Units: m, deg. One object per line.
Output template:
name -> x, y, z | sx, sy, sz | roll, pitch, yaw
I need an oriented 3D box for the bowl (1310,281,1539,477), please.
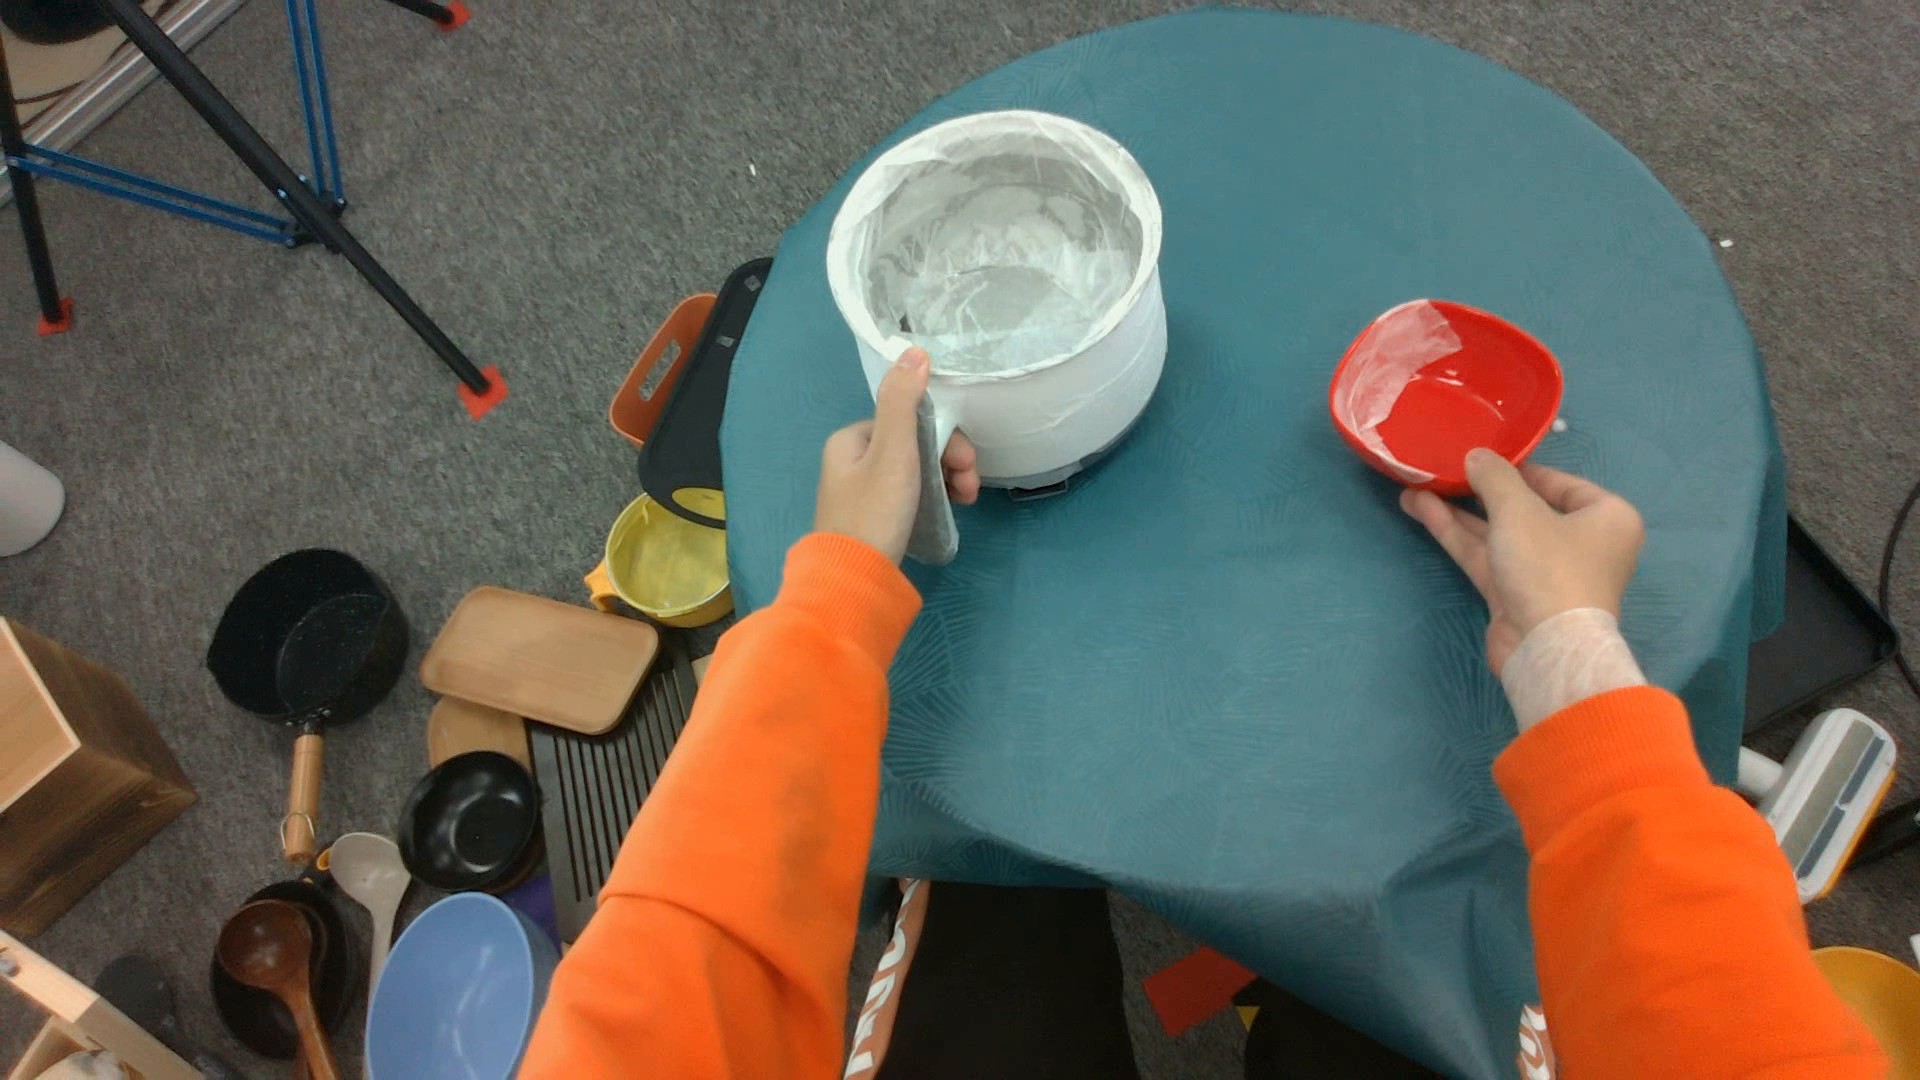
bowl -> 0.249, -0.079, 0.752 | 0.119, 0.051, 0.119 | -3, 62, 7

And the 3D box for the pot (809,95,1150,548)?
pot -> 0.007, -0.115, 0.765 | 0.178, 0.136, 0.234 | 15, 67, 17
